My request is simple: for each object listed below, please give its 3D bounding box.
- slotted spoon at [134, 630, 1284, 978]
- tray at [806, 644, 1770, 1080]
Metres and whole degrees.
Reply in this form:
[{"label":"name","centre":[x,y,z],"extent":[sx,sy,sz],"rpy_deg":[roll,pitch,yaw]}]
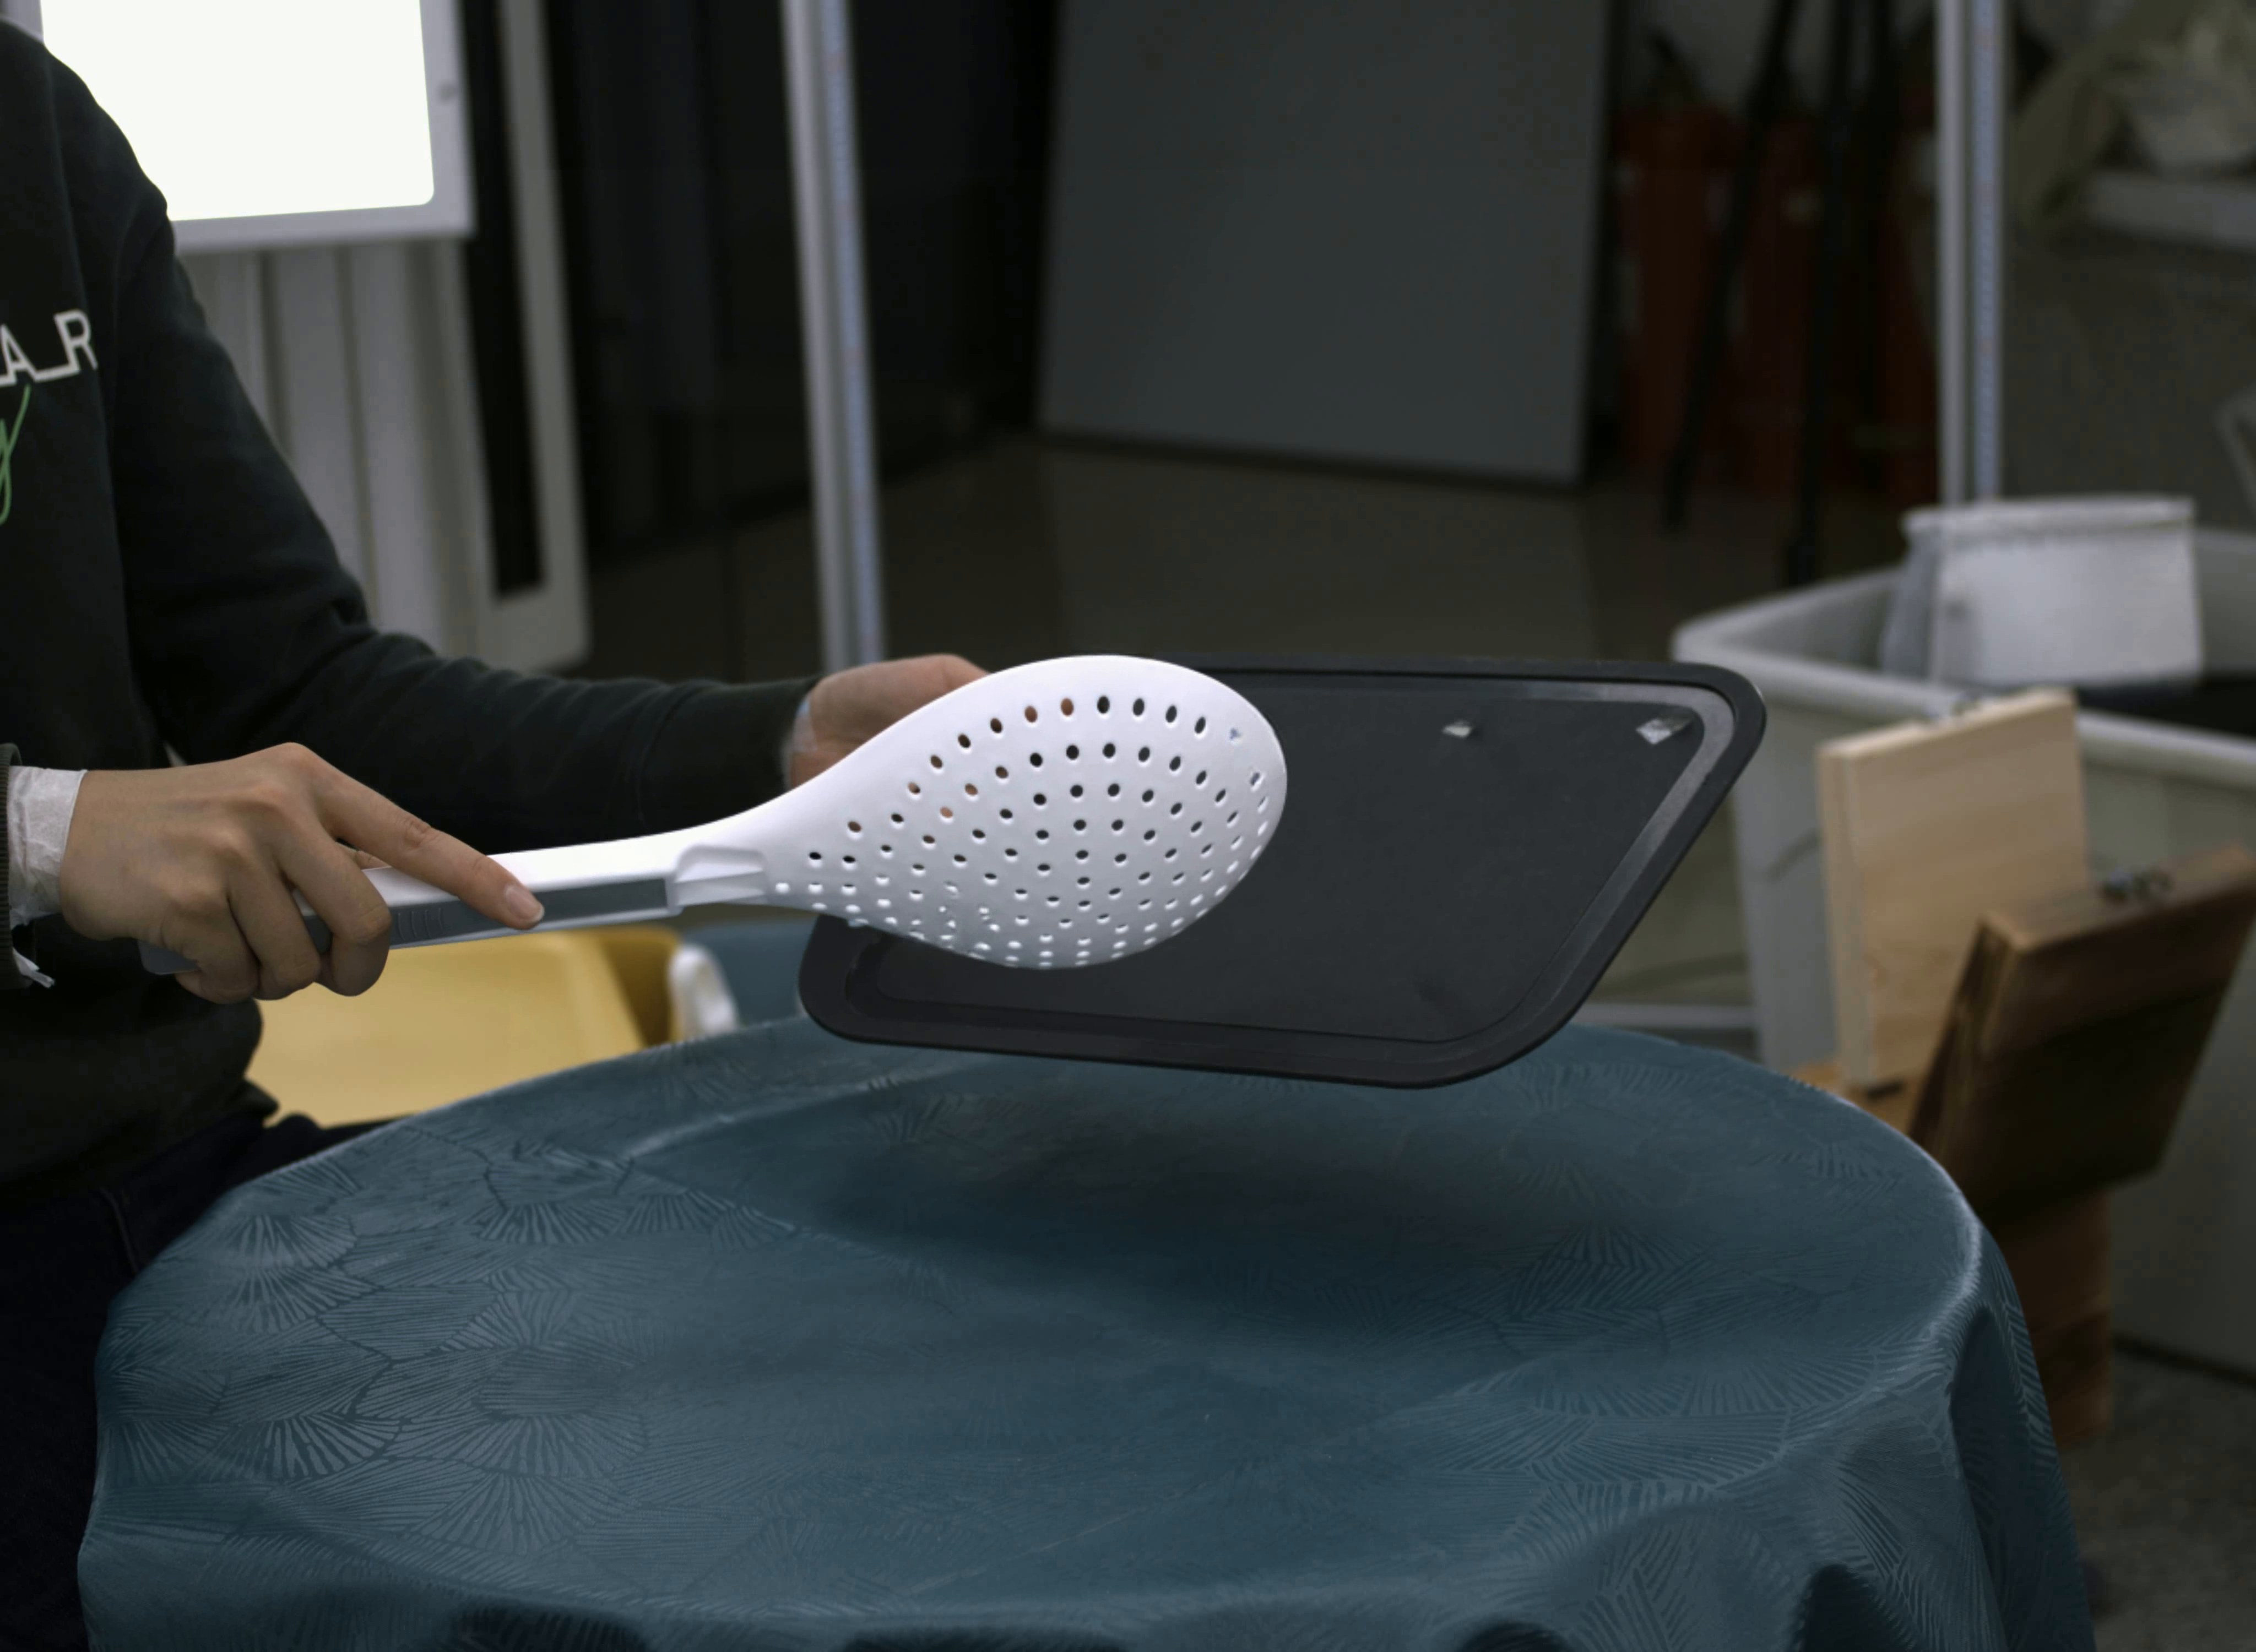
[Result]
[{"label":"slotted spoon","centre":[-0.123,0.009,1.622],"extent":[0.345,0.136,0.046],"rpy_deg":[-4,47,0]},{"label":"tray","centre":[0.041,0.006,1.756],"extent":[0.328,0.010,0.210],"rpy_deg":[2,41,39]}]
